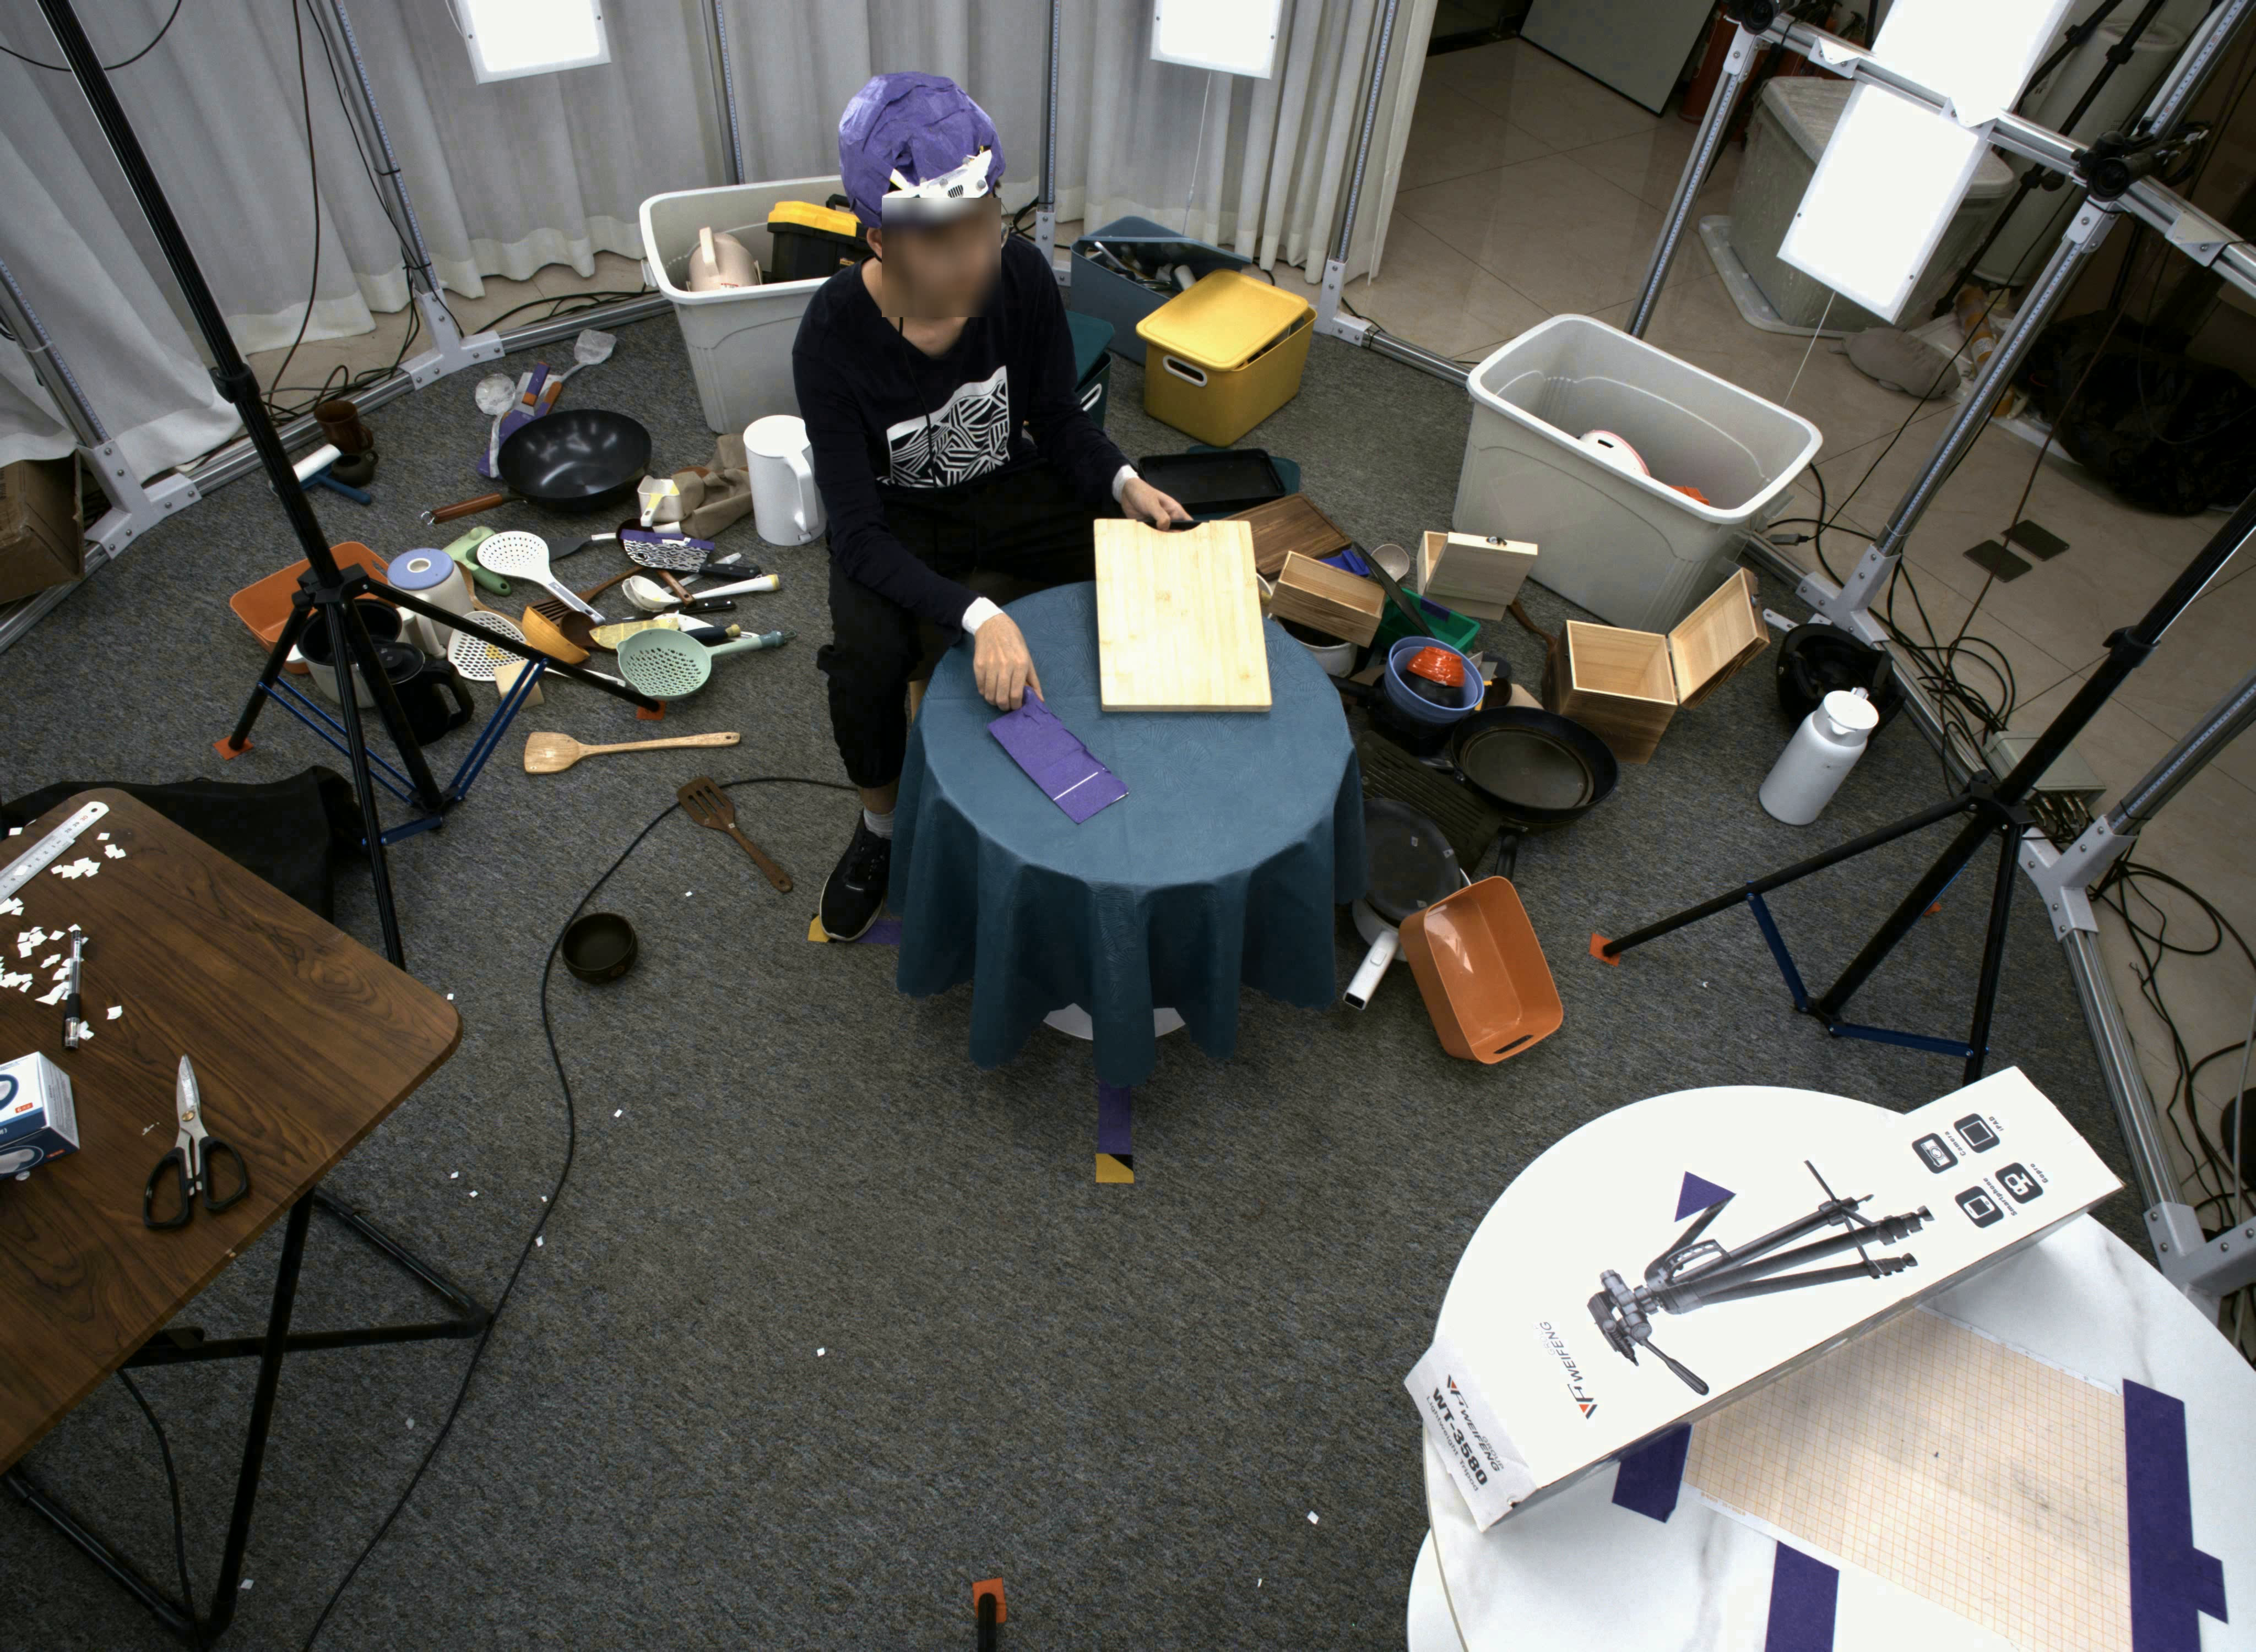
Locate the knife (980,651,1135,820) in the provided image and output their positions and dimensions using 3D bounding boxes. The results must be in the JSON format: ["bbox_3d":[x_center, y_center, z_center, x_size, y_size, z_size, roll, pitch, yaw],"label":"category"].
[{"bbox_3d":[-0.125,-0.127,1.751,0.104,0.031,0.321,-30,58,-25],"label":"knife"}]

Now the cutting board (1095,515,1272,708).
[{"bbox_3d":[0.077,-0.320,1.898,0.250,0.023,0.356,-1,60,-5],"label":"cutting board"}]
